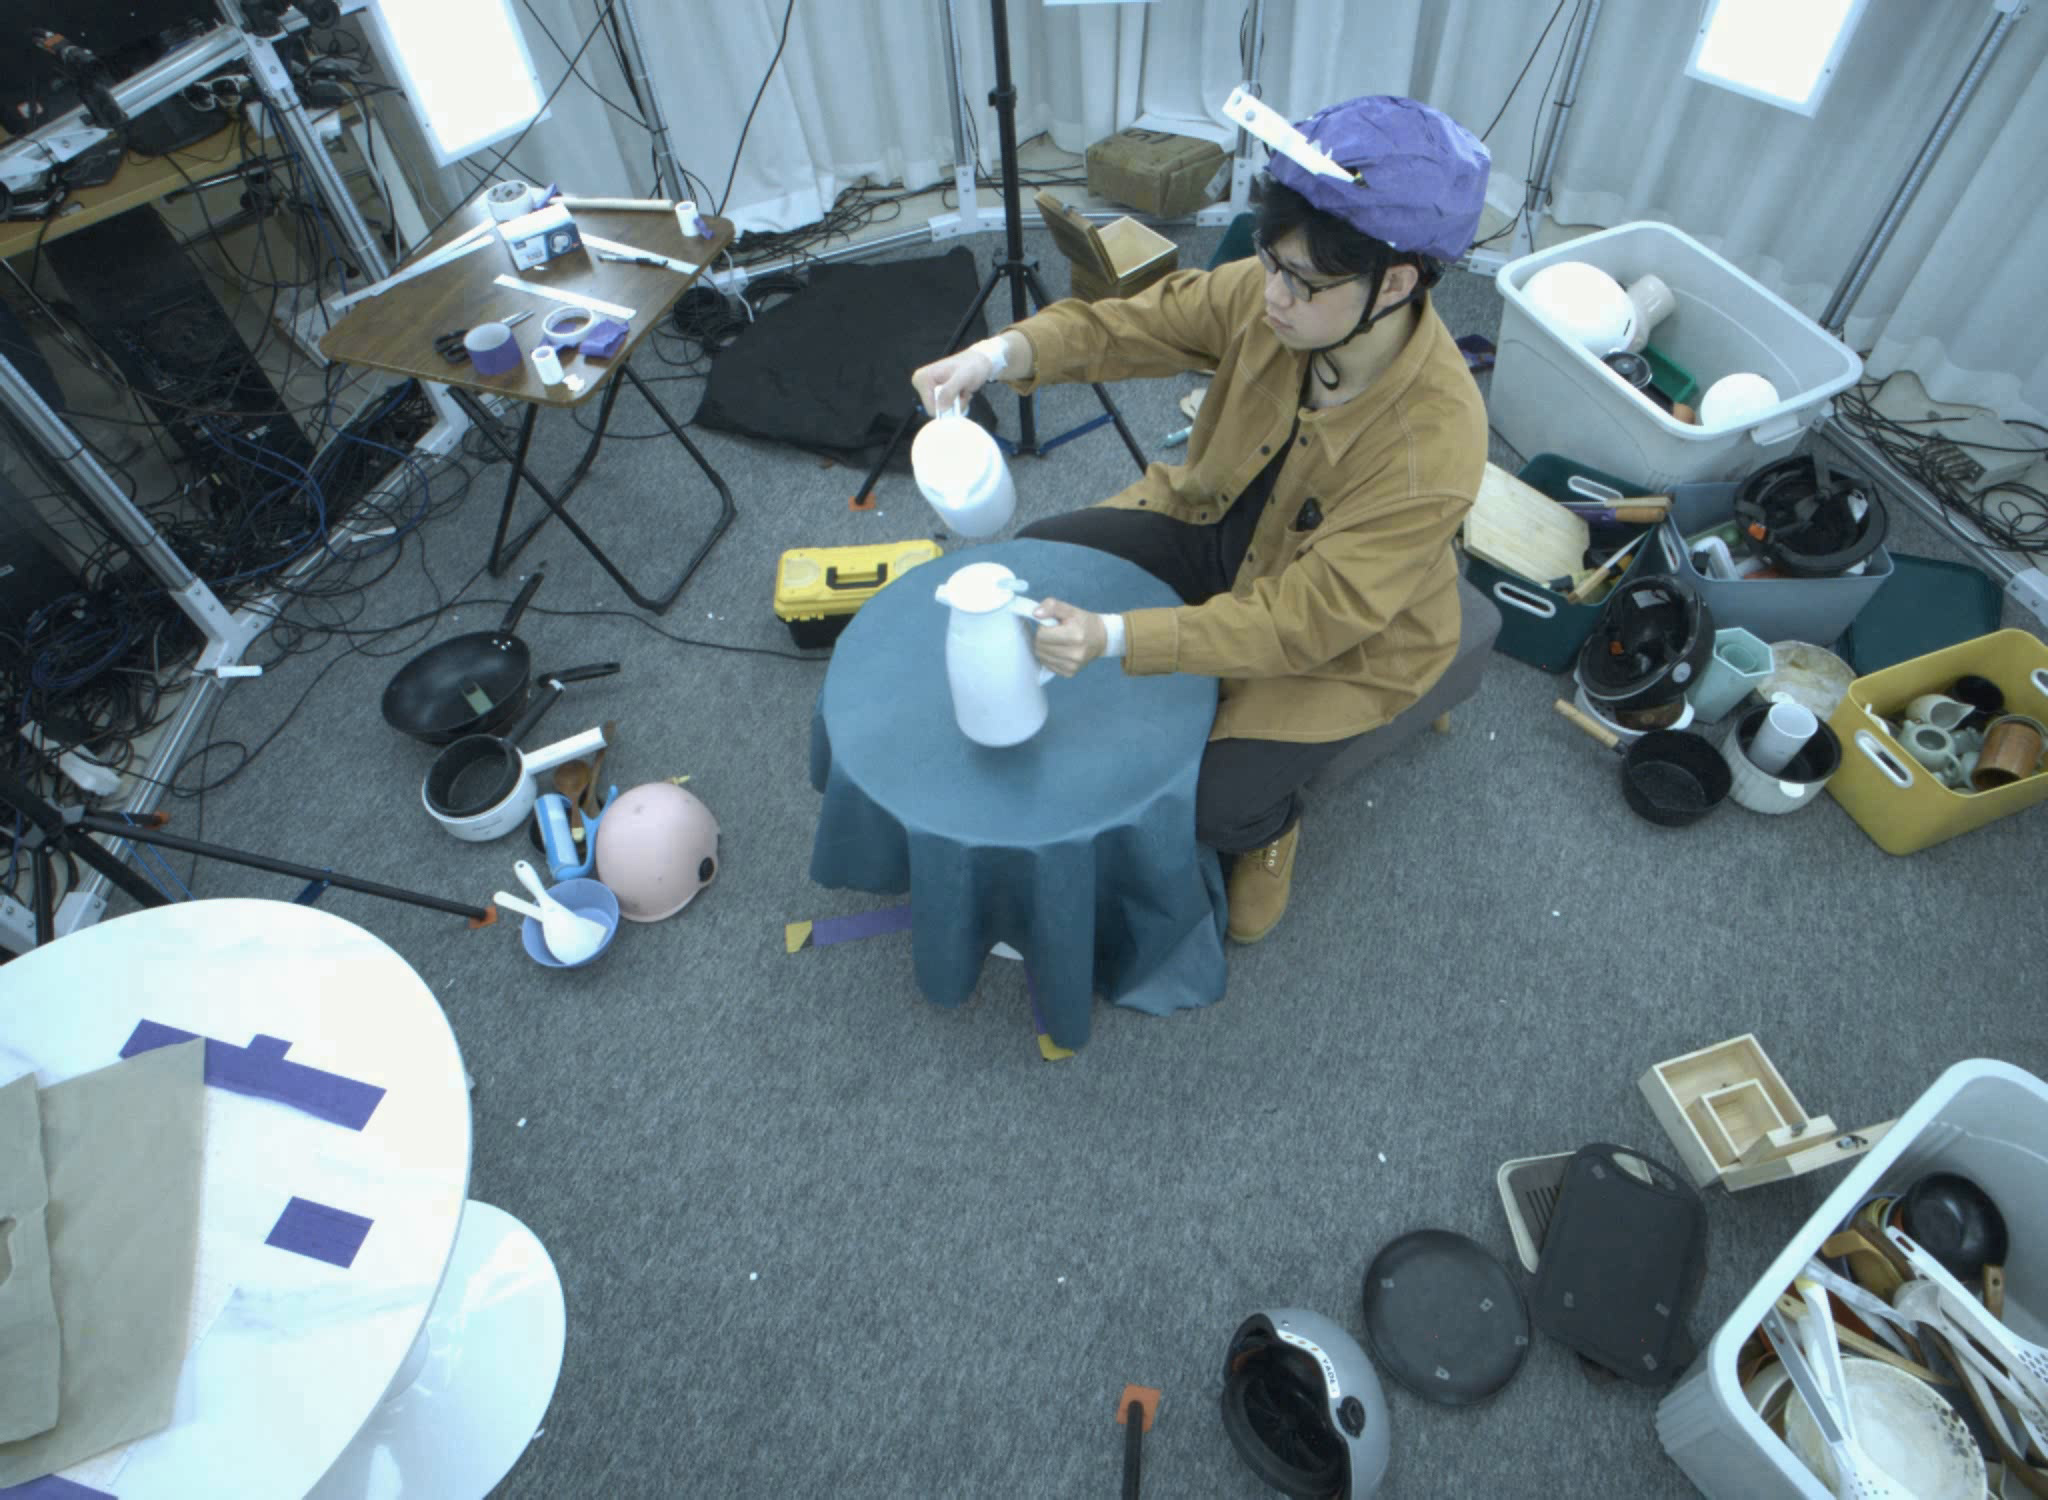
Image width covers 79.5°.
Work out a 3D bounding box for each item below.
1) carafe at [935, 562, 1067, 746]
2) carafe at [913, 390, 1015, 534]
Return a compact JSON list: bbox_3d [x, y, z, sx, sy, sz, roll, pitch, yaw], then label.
[{"bbox_3d":[-0.025,-0.132,1.639,0.166,0.251,0.132,7,52,11],"label":"carafe"},{"bbox_3d":[-0.085,-0.387,1.648,0.123,0.270,0.173,-7,90,6],"label":"carafe"}]
